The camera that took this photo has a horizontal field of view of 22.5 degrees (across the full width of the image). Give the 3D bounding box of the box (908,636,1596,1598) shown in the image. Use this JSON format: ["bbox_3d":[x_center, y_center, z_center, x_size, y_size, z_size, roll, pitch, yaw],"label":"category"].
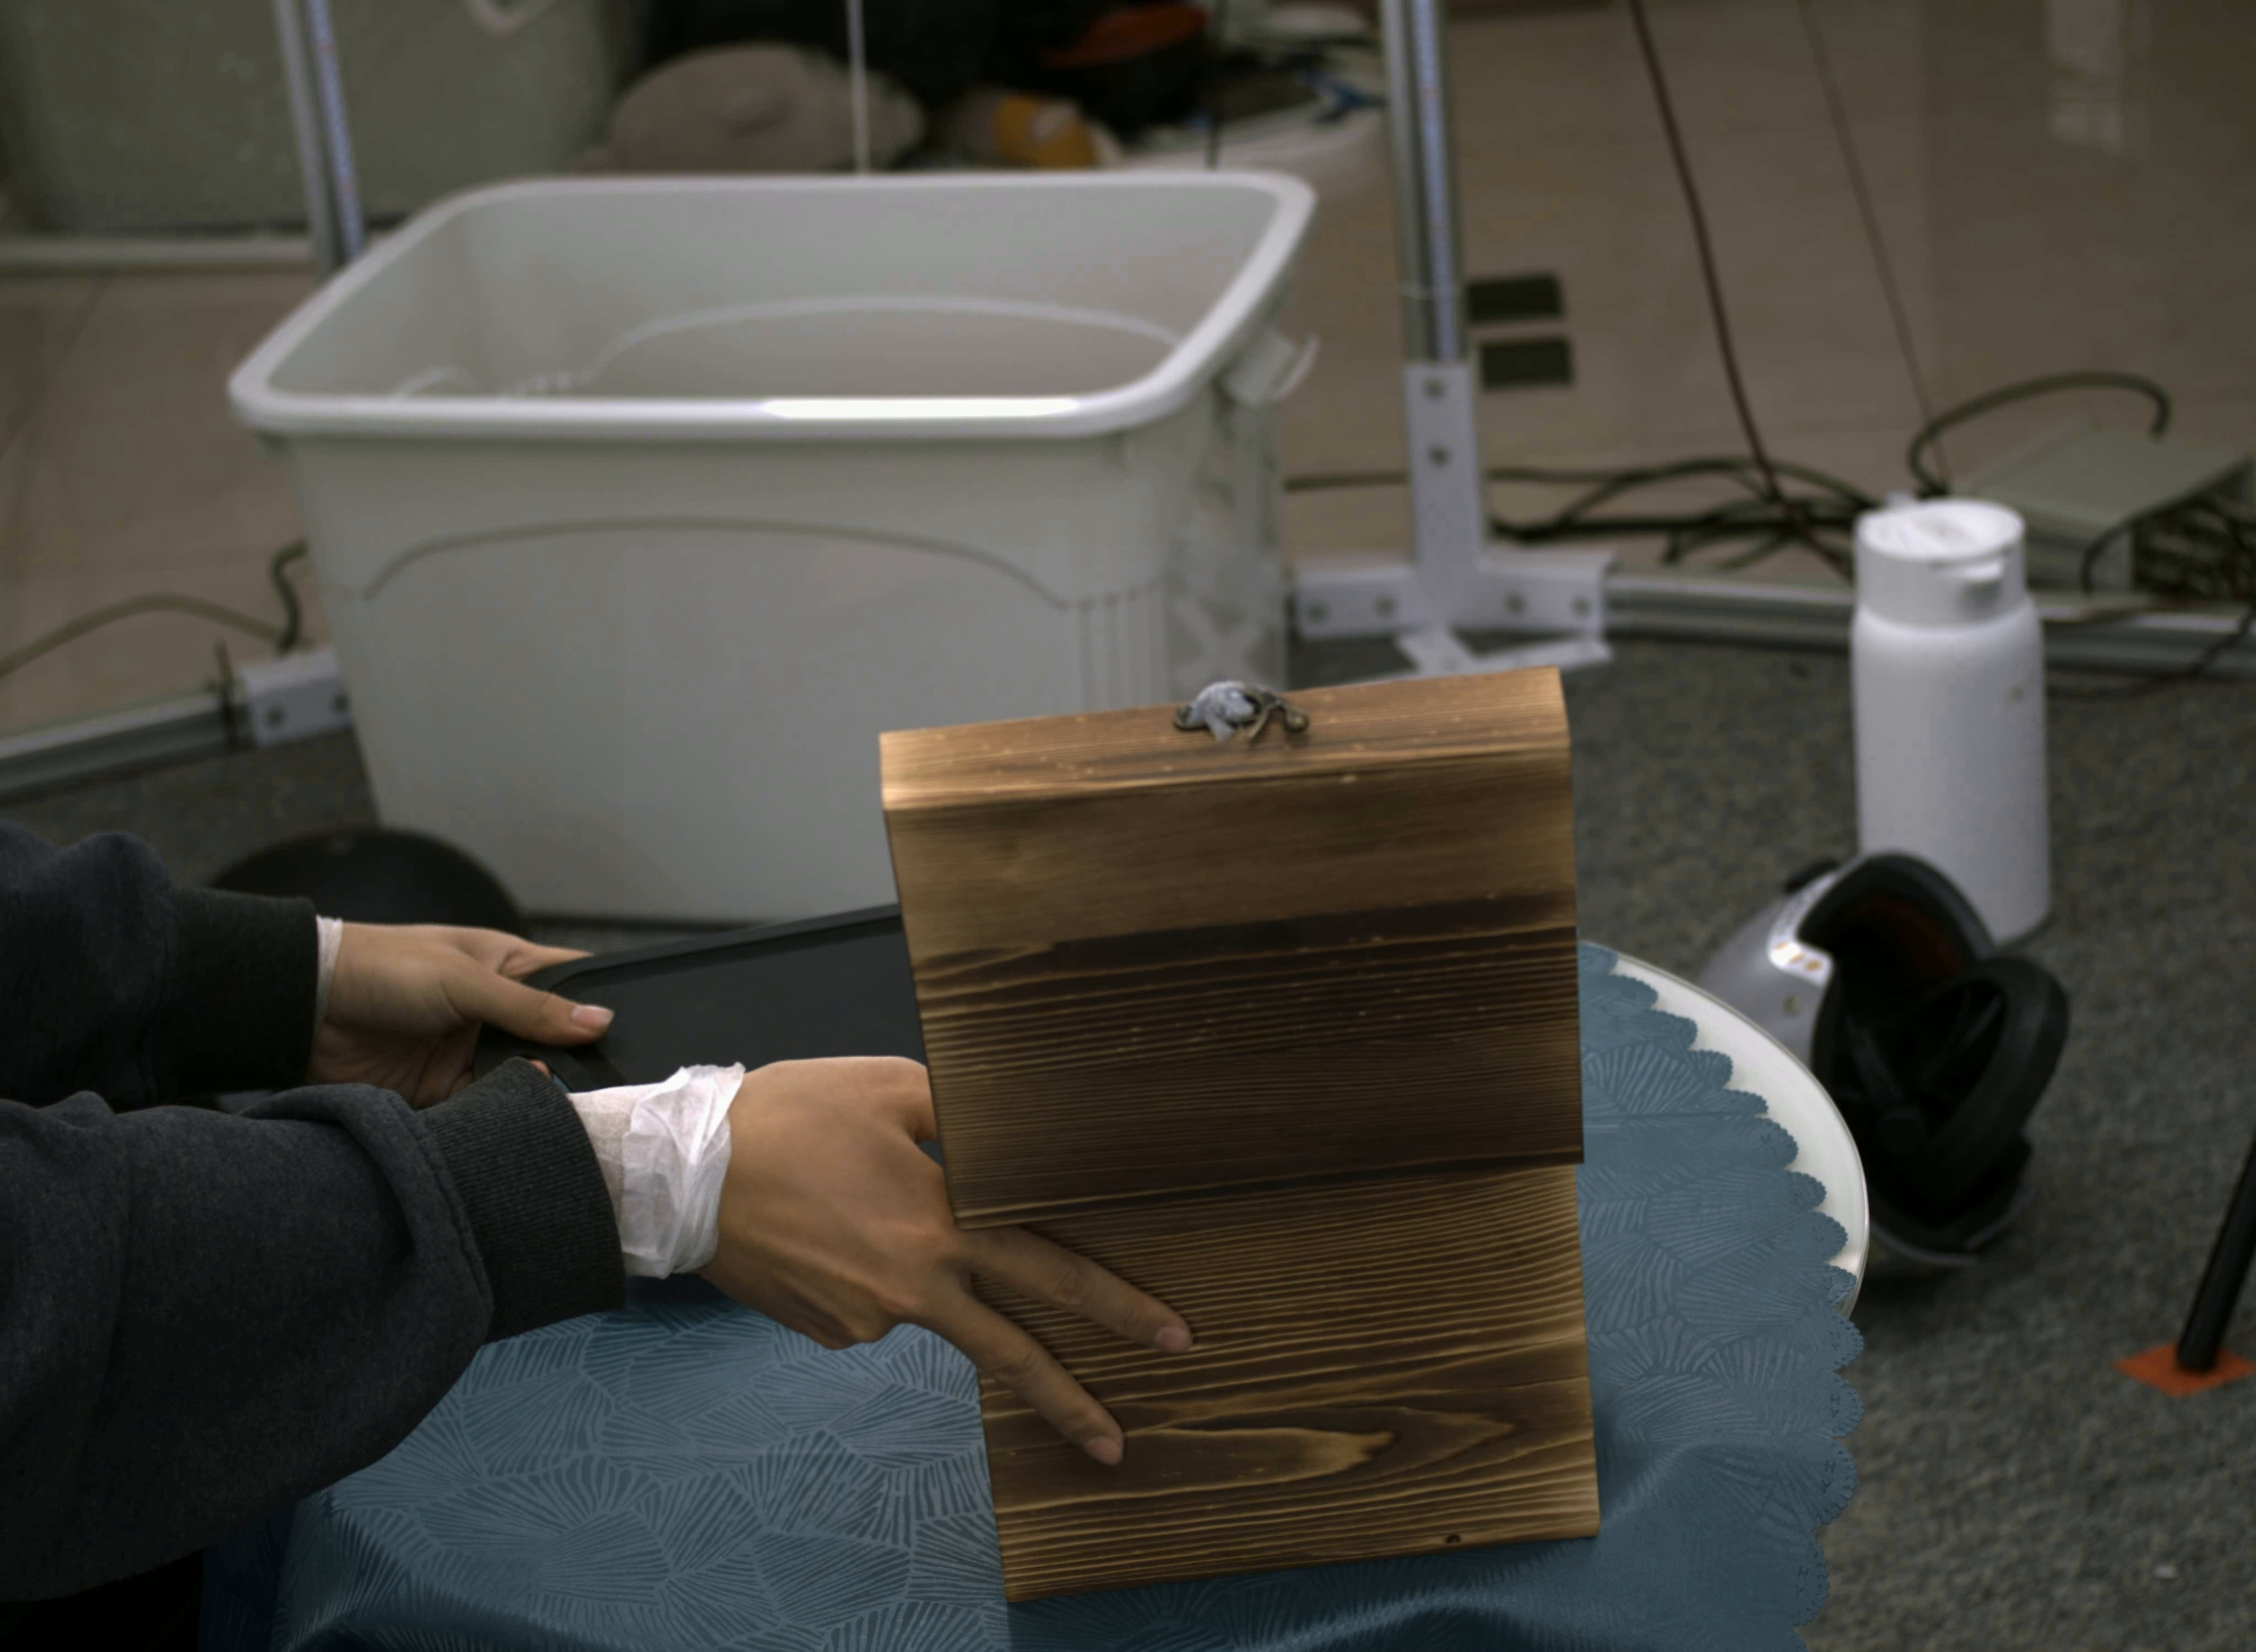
[{"bbox_3d":[0.041,0.066,1.861,0.208,0.381,0.317,-6,26,-1],"label":"box"}]

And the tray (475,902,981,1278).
[{"bbox_3d":[-0.089,0.093,2.198,0.324,0.010,0.208,-11,36,-18],"label":"tray"}]
